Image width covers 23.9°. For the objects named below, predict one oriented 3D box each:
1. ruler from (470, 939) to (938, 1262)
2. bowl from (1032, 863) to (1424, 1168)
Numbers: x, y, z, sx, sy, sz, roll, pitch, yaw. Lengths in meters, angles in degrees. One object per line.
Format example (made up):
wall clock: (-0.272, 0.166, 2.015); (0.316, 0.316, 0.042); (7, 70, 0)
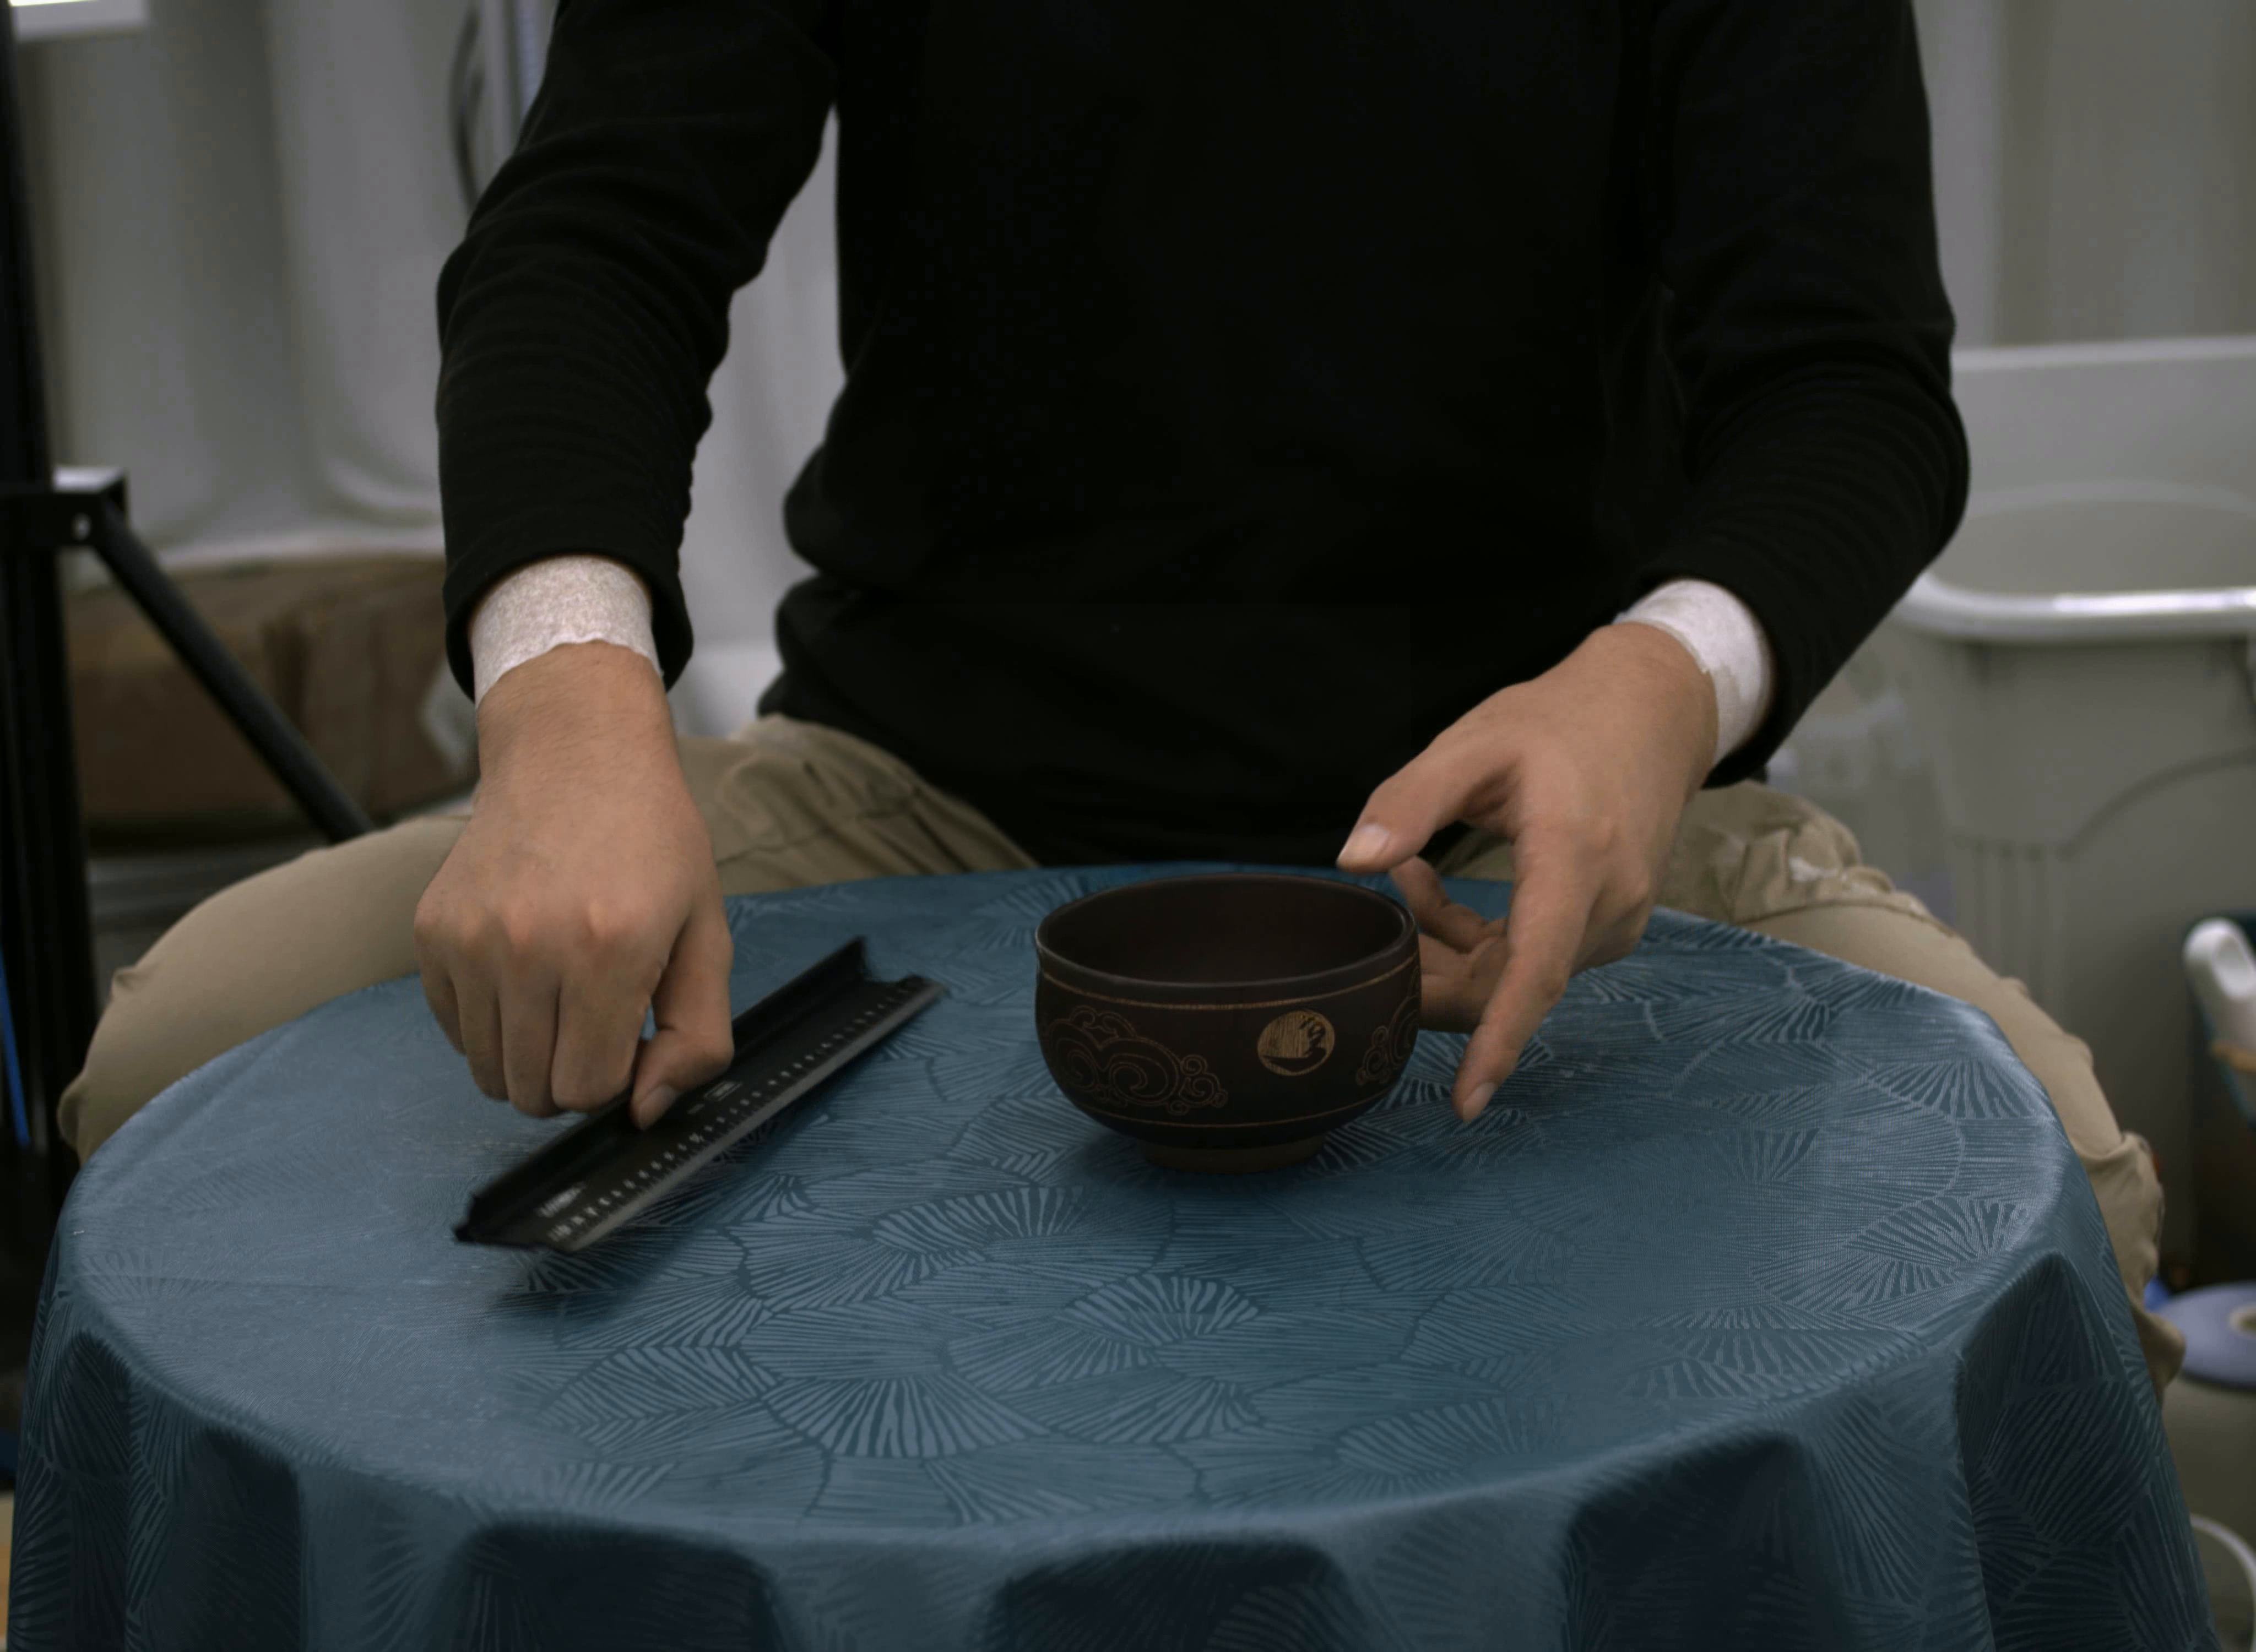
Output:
ruler: (-0.123, 0.080, 1.620); (0.039, 0.017, 0.309); (7, 15, 15)
bowl: (0.030, 0.060, 1.585); (0.117, 0.070, 0.118); (-2, 16, -1)
